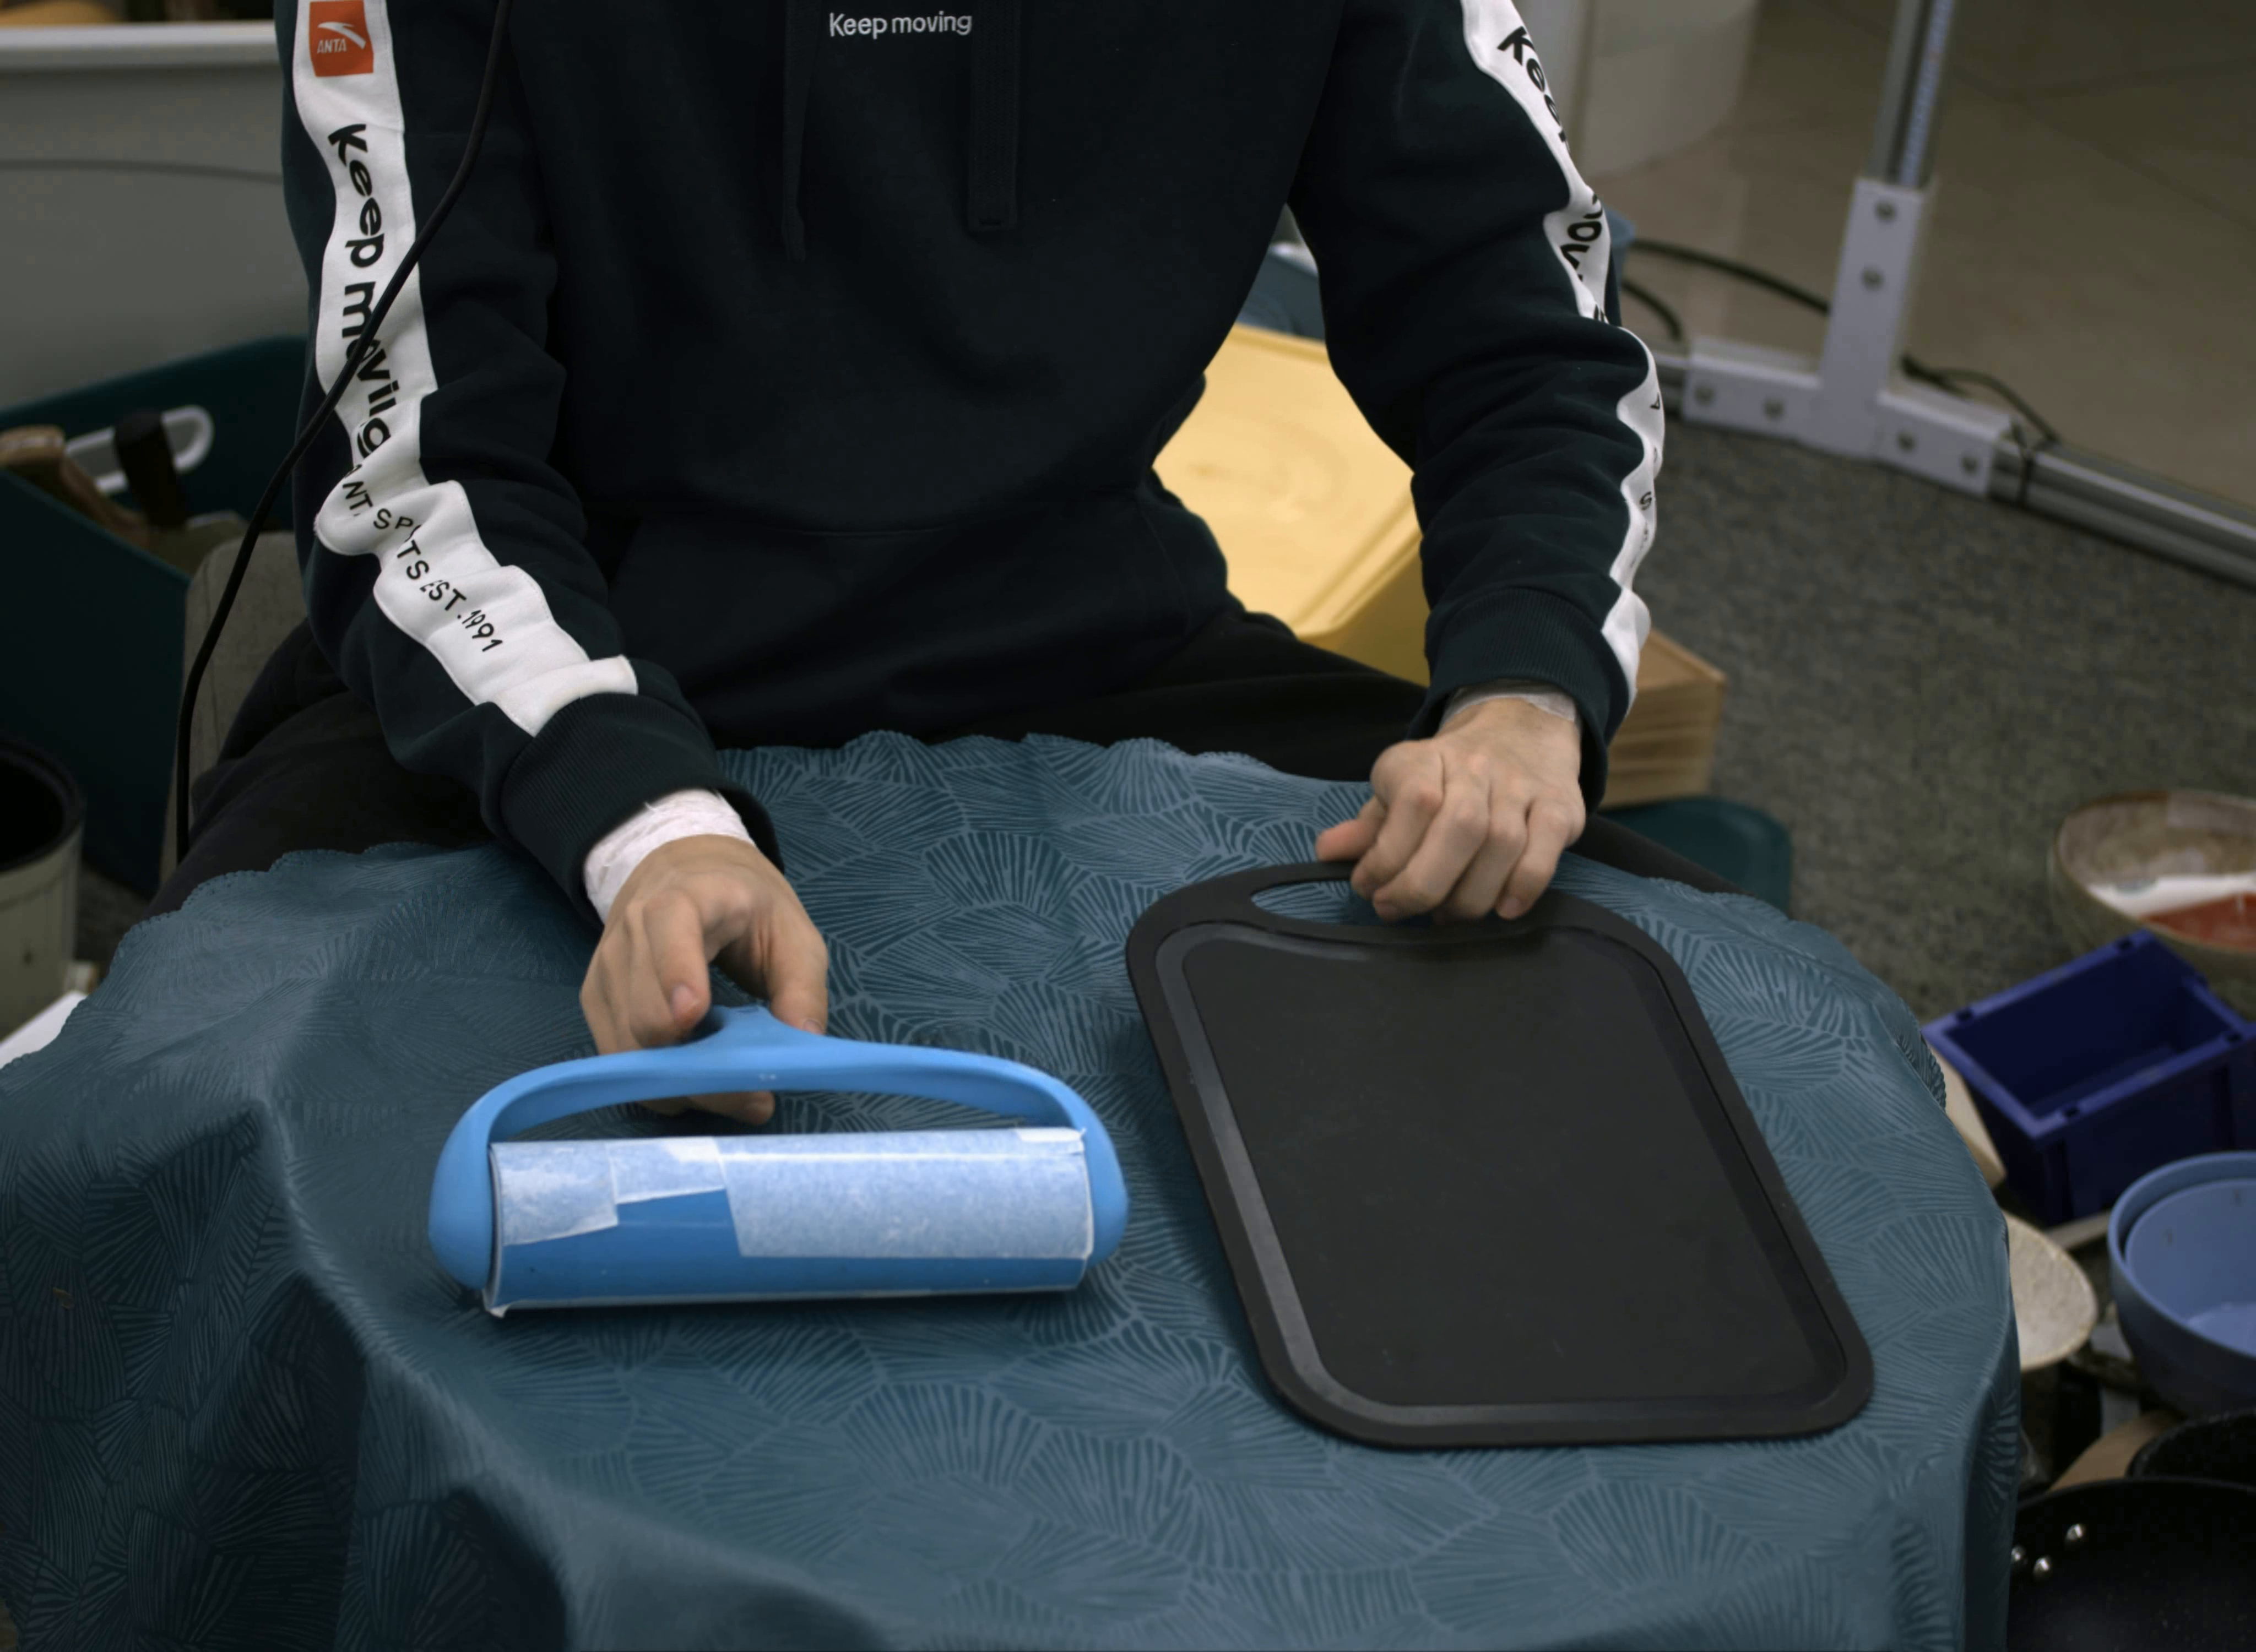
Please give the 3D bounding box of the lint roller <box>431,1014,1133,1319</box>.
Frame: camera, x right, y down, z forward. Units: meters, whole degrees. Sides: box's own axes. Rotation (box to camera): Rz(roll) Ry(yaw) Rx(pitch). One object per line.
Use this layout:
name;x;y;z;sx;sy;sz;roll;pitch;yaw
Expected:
lint roller;-0.125;0.097;1.759;0.227;0.067;0.182;-4;30;-15

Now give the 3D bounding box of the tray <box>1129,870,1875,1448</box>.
tray;0.120;0.105;1.817;0.210;0.010;0.328;1;33;-13
